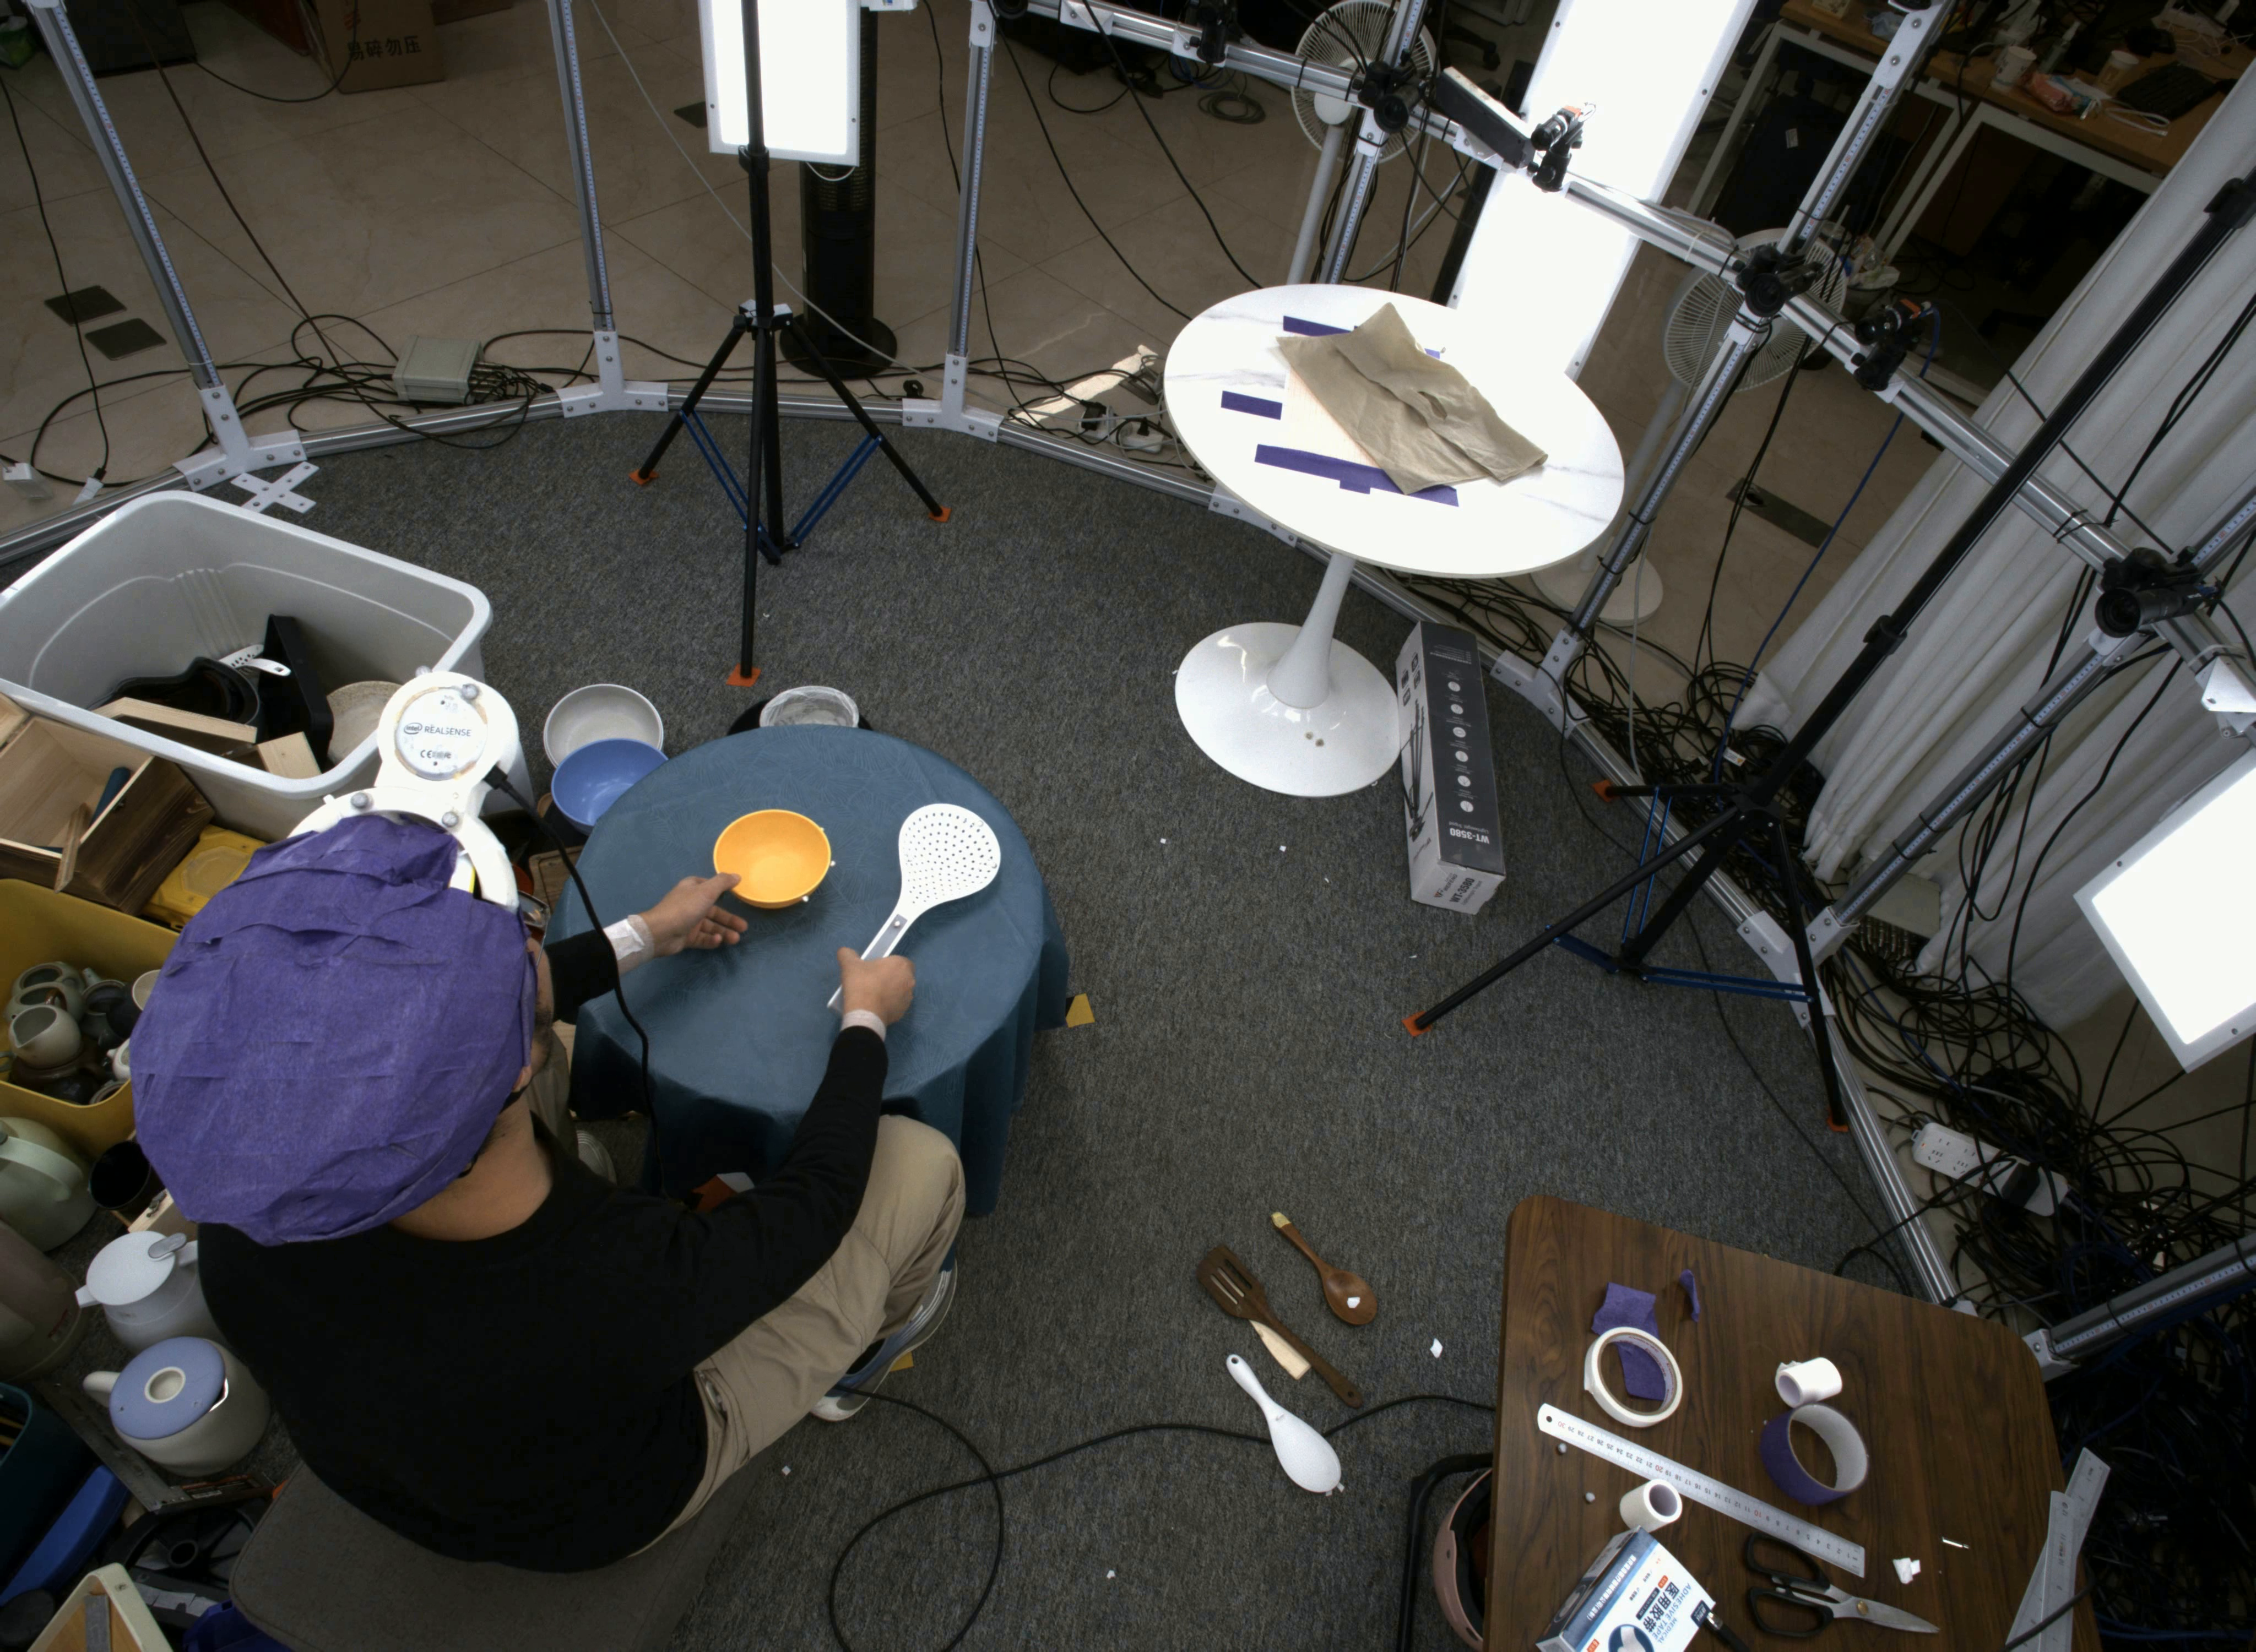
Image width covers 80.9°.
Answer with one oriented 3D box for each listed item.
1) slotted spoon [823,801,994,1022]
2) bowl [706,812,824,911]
[{"bbox_3d":[-0.283,0.103,1.634,0.136,0.046,0.347,34,47,-6],"label":"slotted spoon"},{"bbox_3d":[-0.455,0.055,1.633,0.145,0.061,0.142,7,51,-7],"label":"bowl"}]
